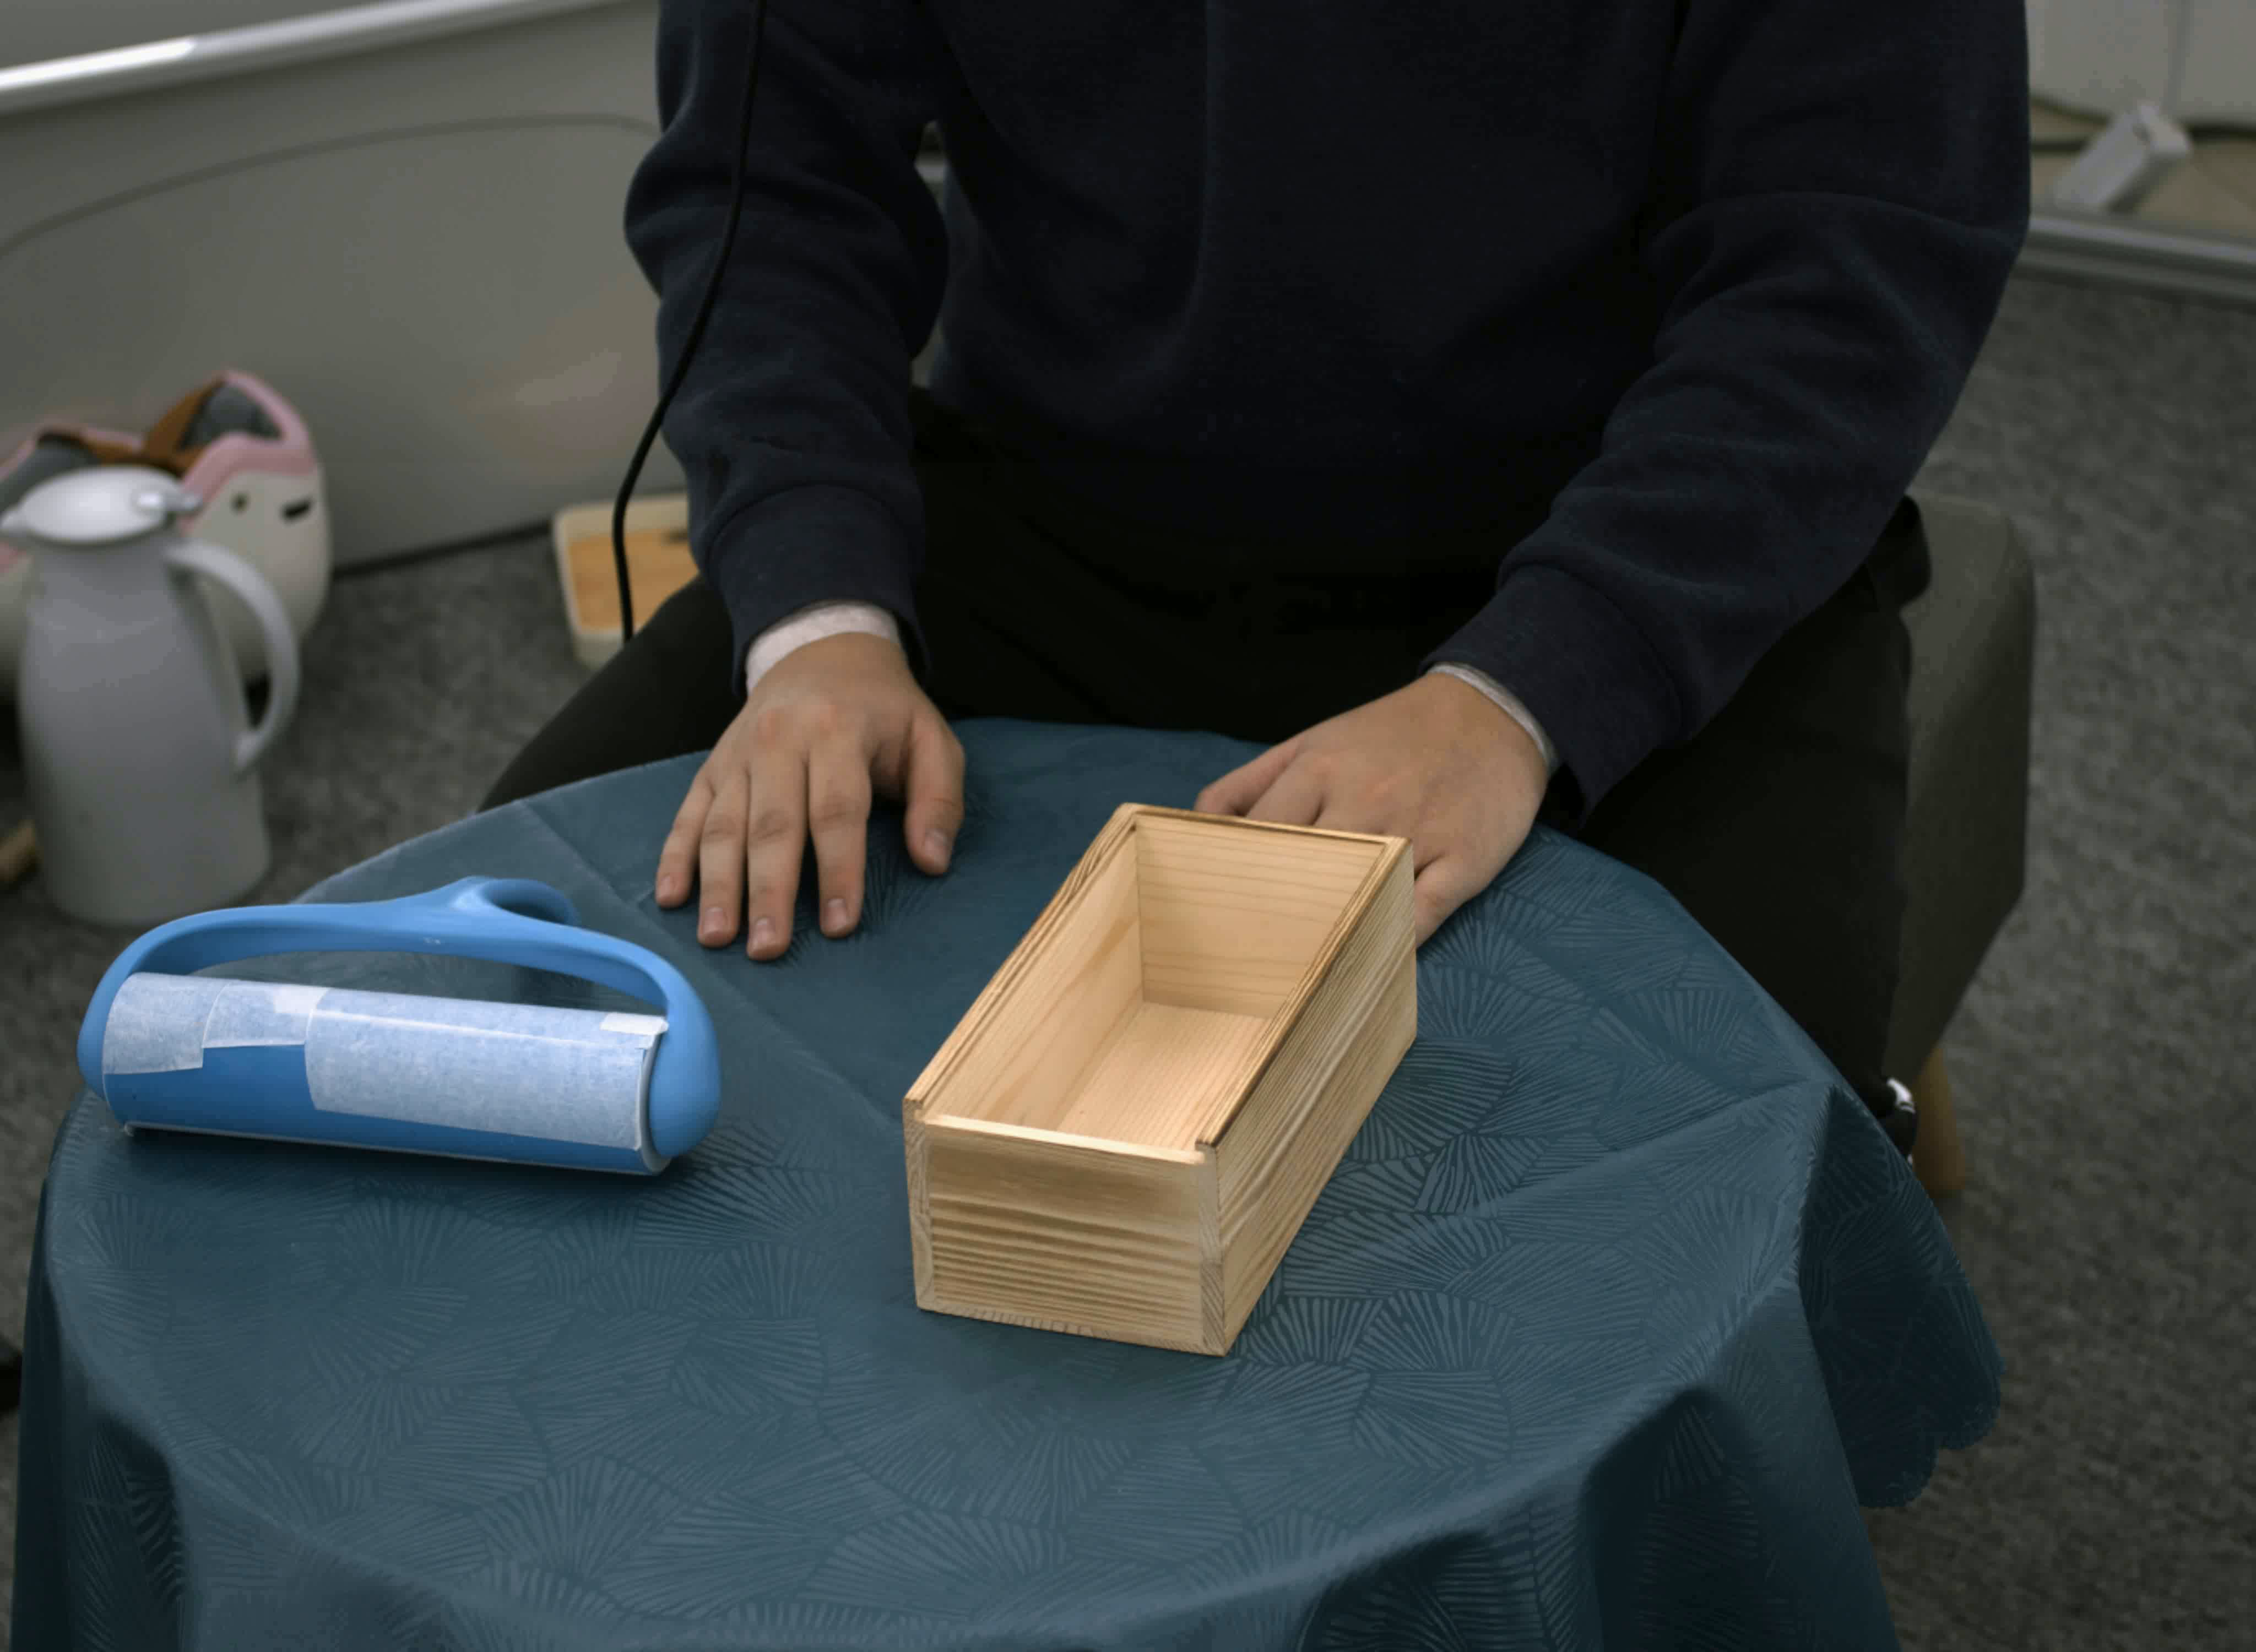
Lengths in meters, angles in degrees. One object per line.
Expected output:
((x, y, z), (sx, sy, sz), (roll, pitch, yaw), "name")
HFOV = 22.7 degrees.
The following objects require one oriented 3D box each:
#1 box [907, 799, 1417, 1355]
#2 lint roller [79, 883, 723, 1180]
((0.015, 0.079, 1.860), (0.107, 0.079, 0.215), (7, 29, 17), "box")
((-0.234, 0.055, 1.950), (0.227, 0.067, 0.183), (2, 29, 13), "lint roller")
